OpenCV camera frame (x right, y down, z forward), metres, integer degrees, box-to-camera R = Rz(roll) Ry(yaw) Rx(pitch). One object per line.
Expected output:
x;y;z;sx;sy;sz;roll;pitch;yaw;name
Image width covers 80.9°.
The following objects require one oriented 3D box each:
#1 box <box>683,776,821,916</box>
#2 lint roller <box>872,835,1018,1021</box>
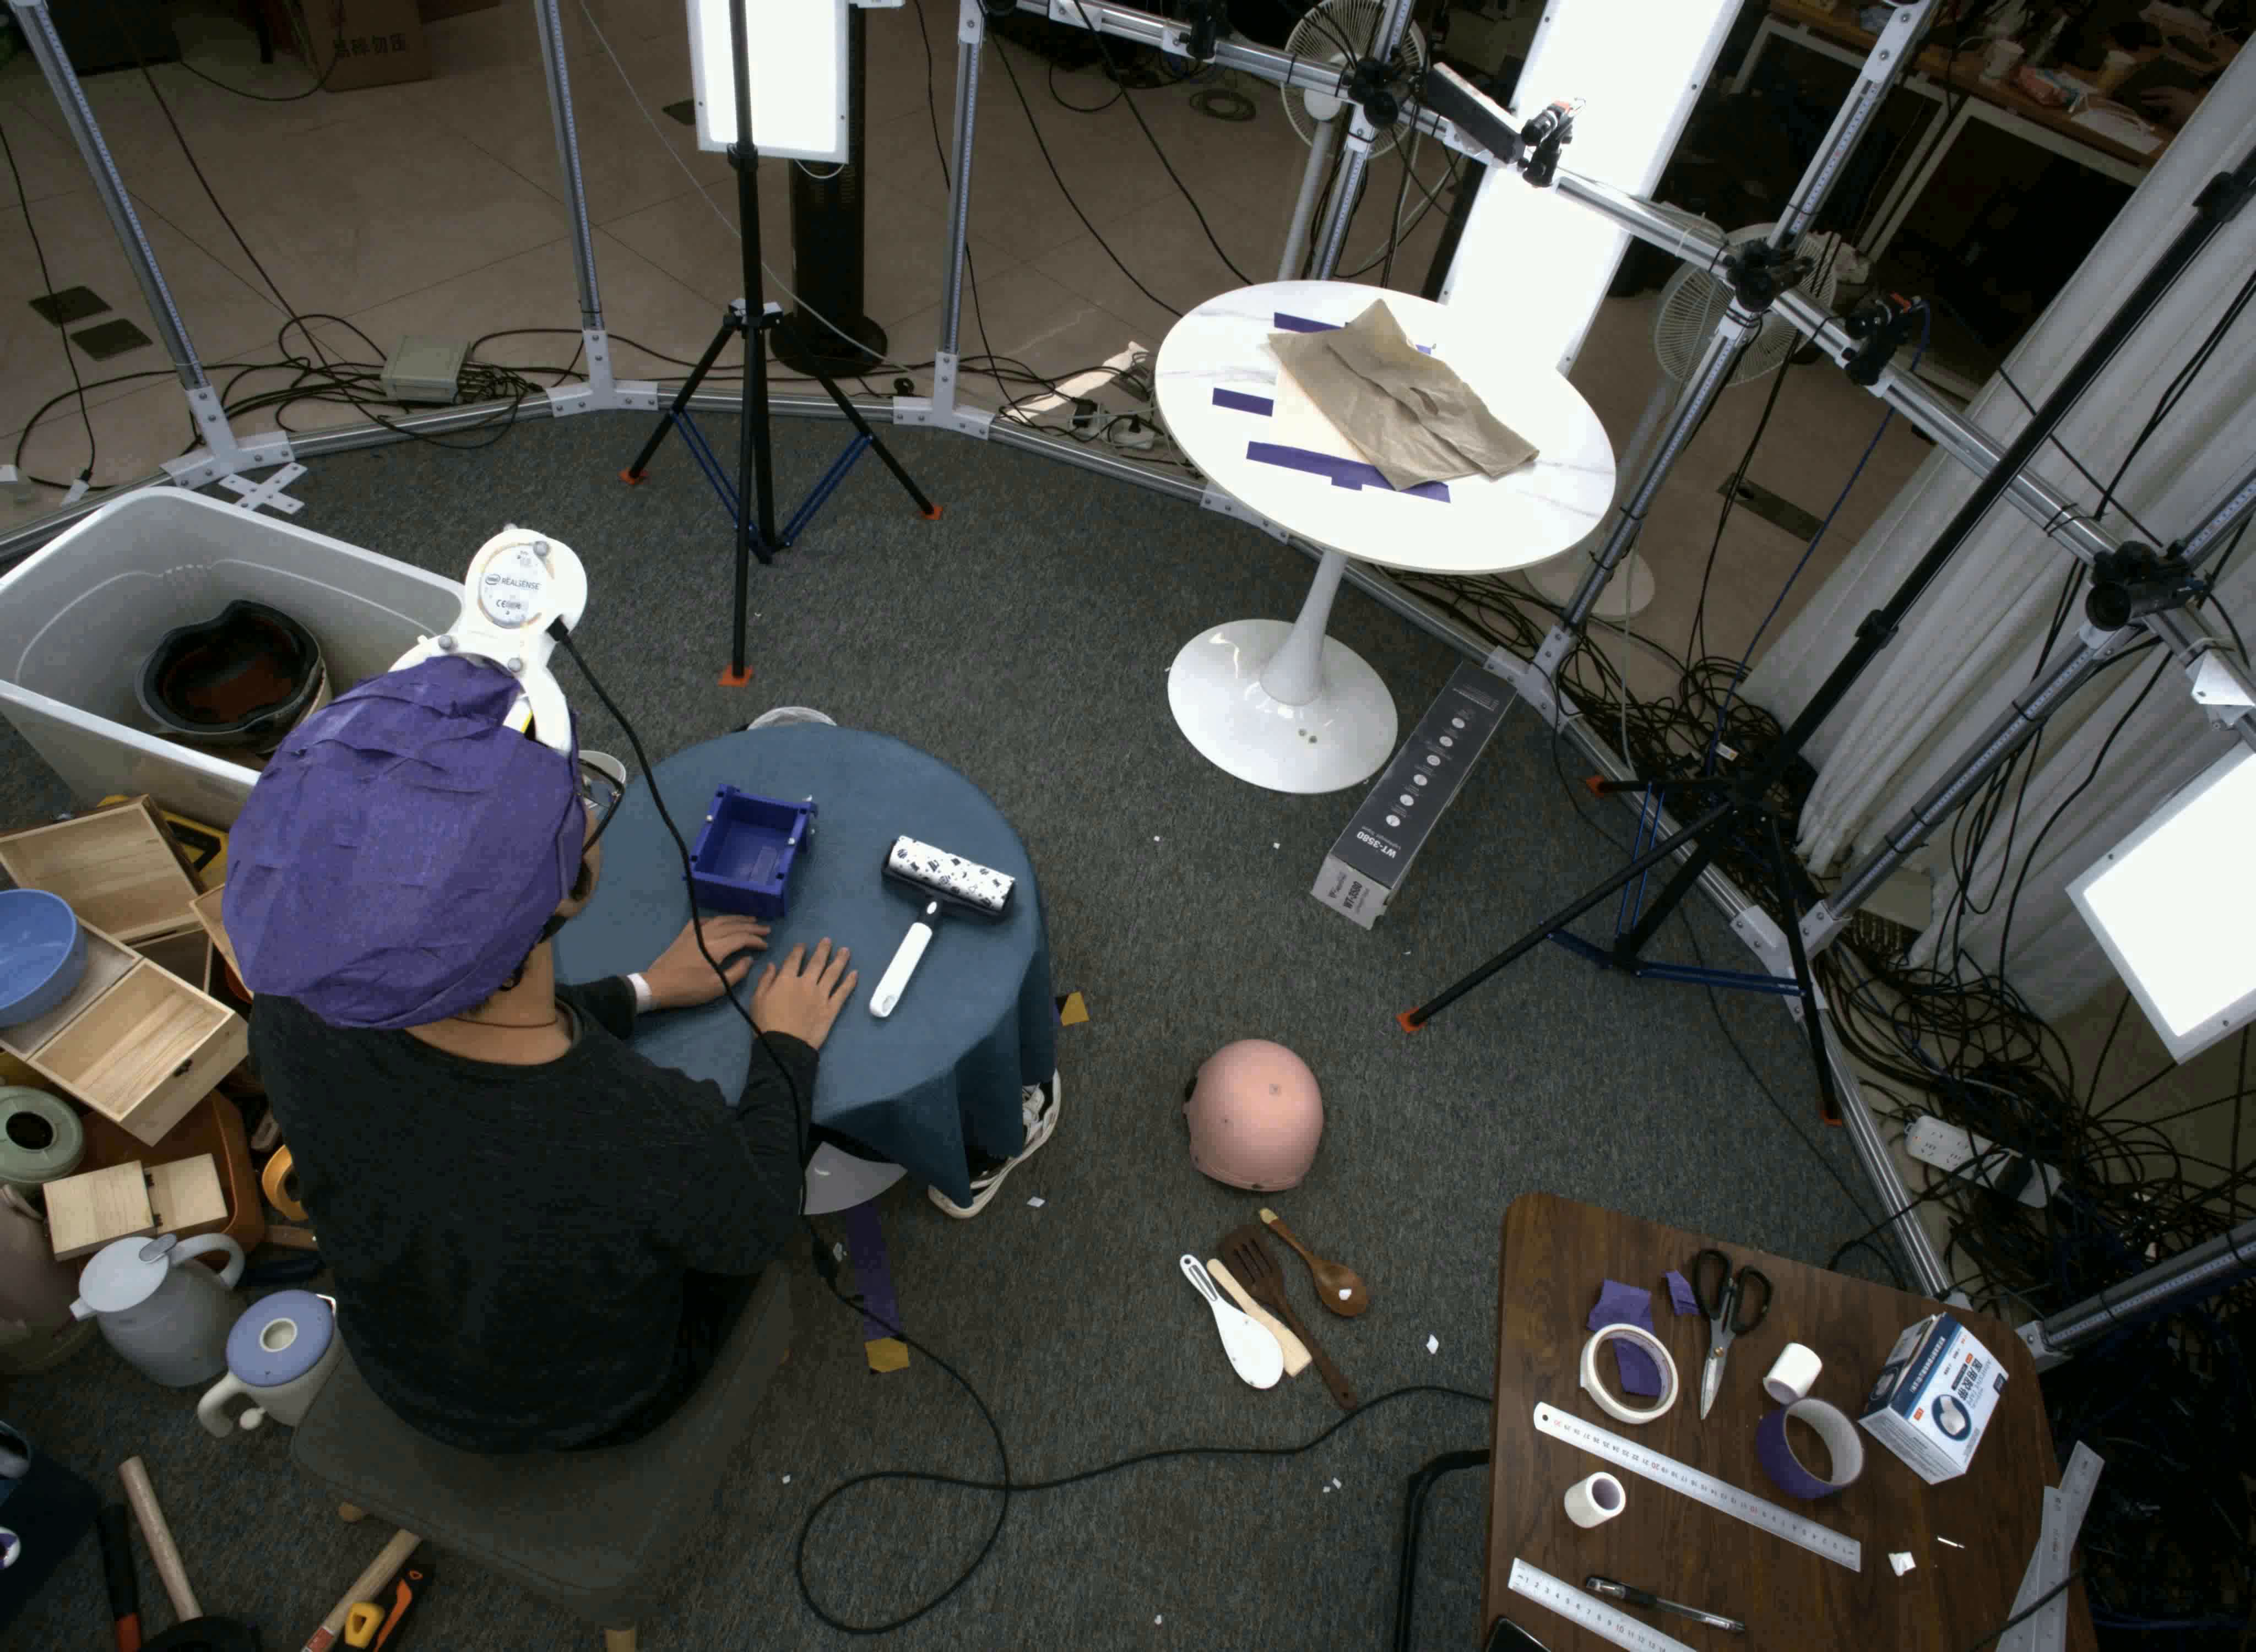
-0.475;0.017;1.640;0.124;0.083;0.177;12;54;-4;box
-0.259;0.134;1.635;0.175;0.051;0.245;21;52;1;lint roller
